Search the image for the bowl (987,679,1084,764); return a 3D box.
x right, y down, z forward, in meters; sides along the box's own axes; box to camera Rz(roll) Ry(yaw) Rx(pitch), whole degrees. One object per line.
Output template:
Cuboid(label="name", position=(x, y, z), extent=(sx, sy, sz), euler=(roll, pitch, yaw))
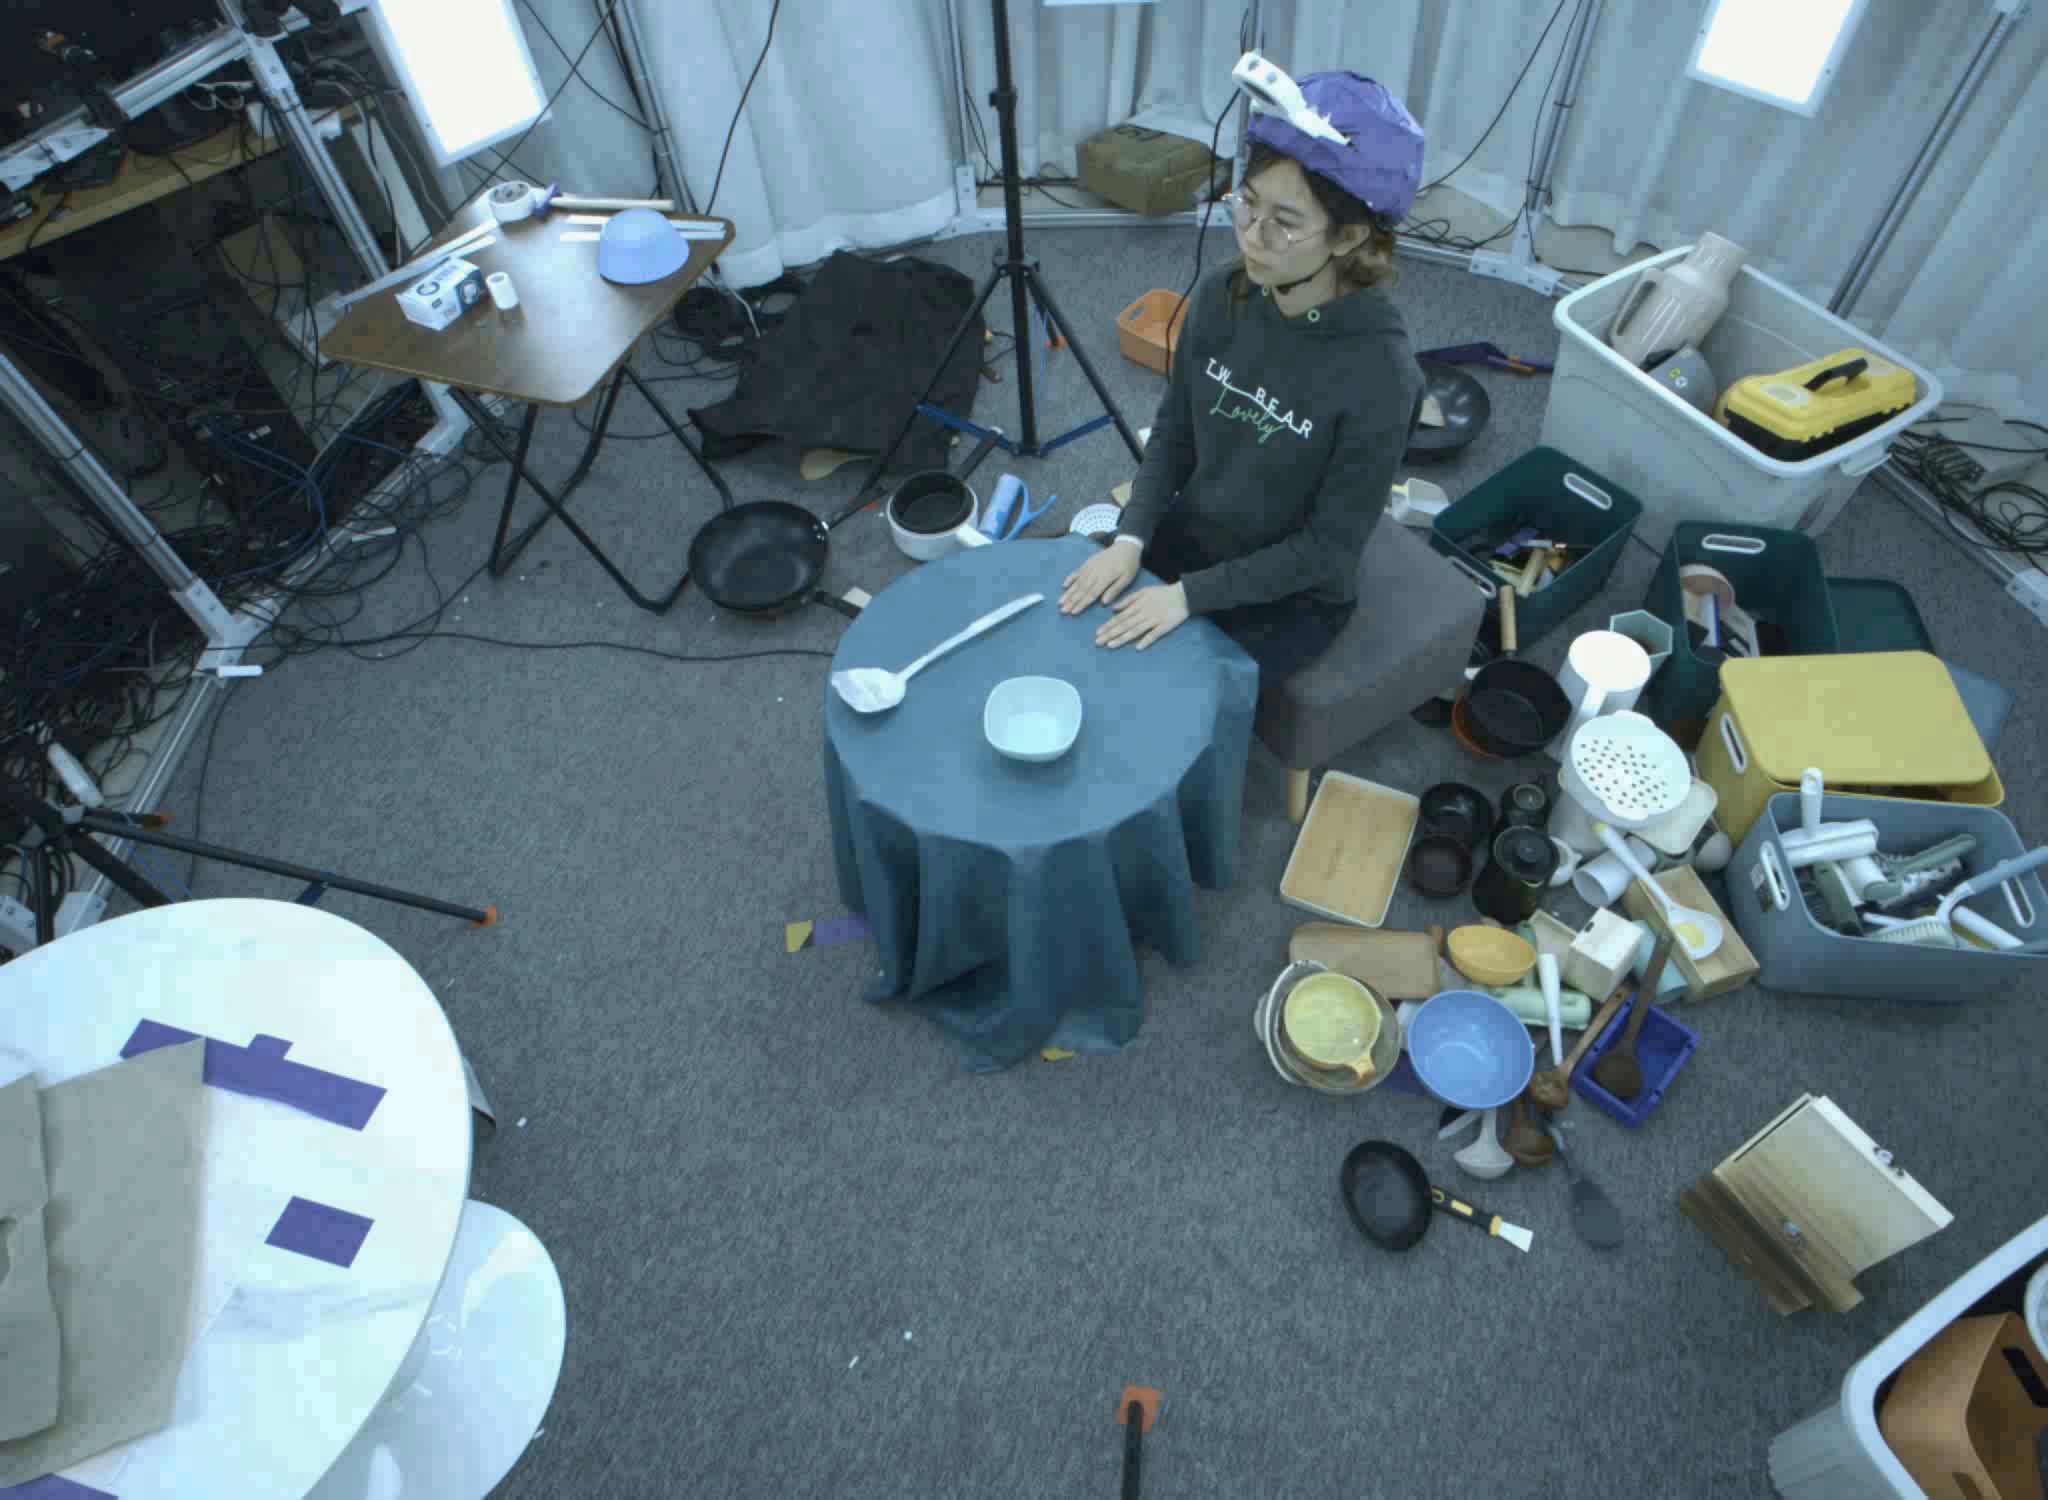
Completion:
Cuboid(label="bowl", position=(0.018, -0.031, 1.785), extent=(0.151, 0.059, 0.150), euler=(-1, 57, 3))

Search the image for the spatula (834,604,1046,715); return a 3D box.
Cuboid(label="spatula", position=(-0.121, -0.153, 1.885), extent=(0.368, 0.045, 0.097), euler=(-32, 58, -19))
